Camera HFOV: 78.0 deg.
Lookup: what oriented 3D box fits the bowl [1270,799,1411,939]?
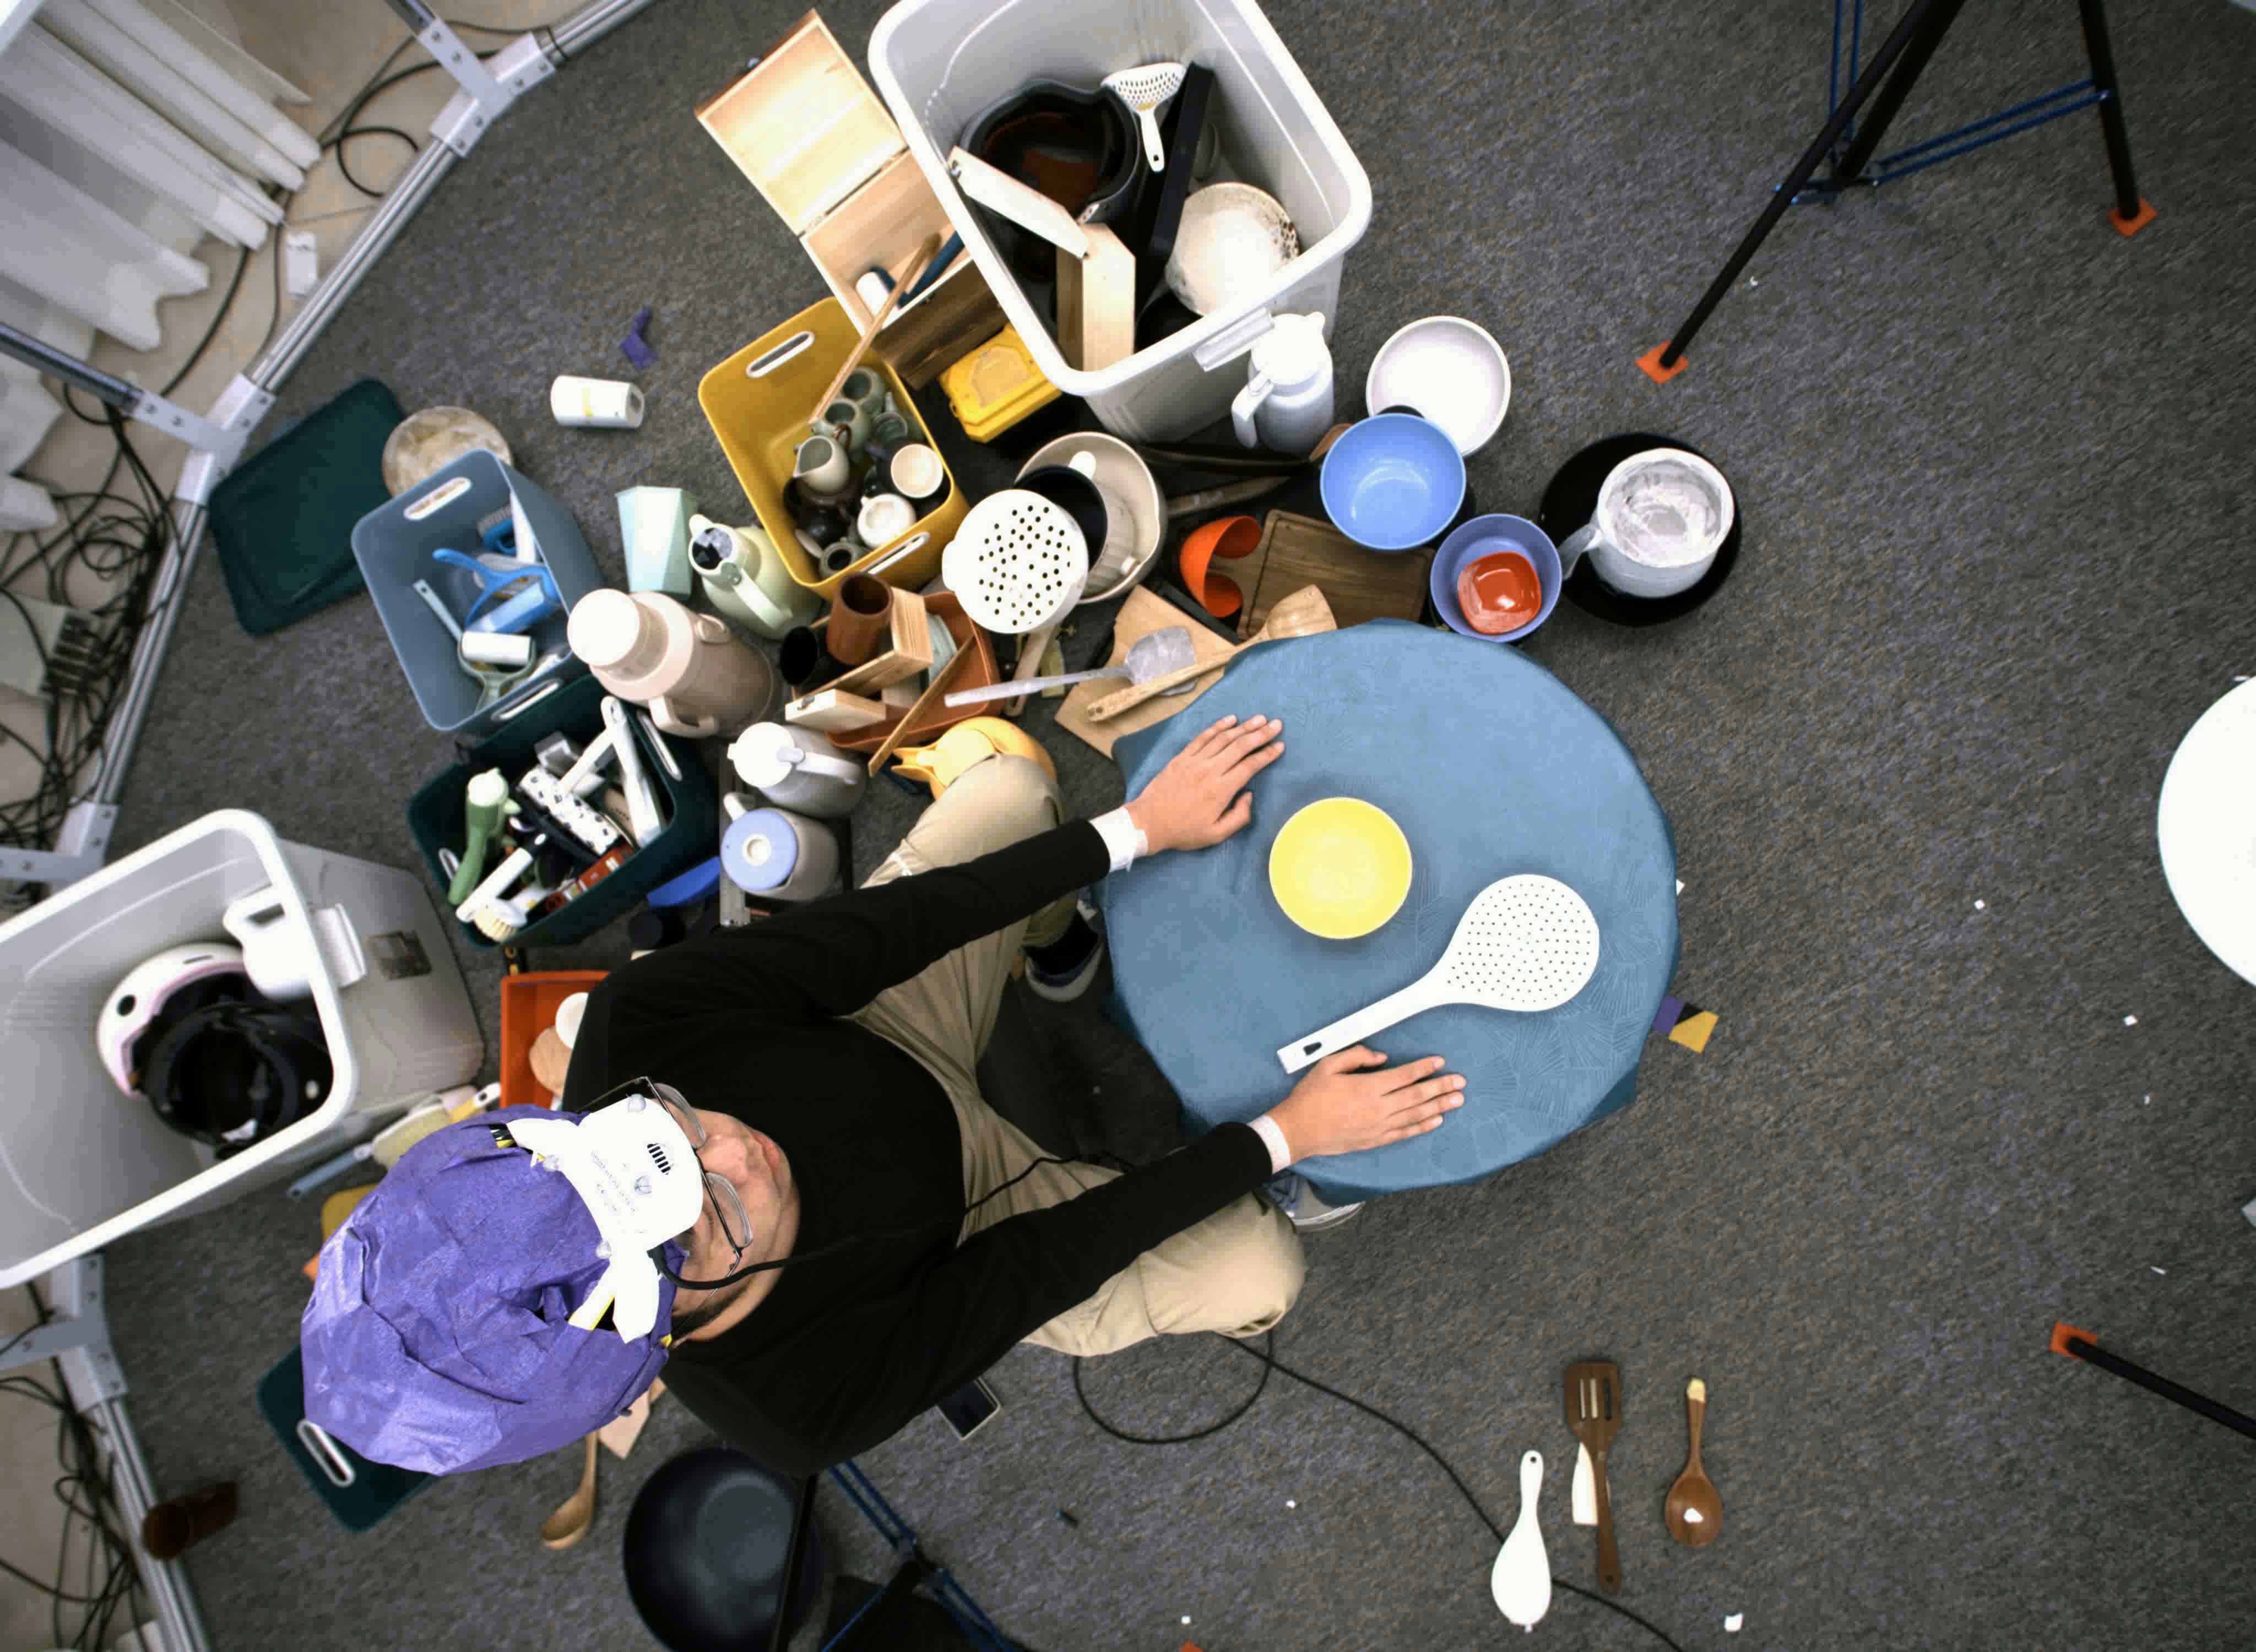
[{"bbox_3d":[0.221,0.047,1.442,0.146,0.060,0.144,-1,85,9],"label":"bowl"}]

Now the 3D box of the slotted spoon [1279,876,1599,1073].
[{"bbox_3d":[0.314,0.168,1.423,0.352,0.046,0.135,-28,81,9],"label":"slotted spoon"}]
